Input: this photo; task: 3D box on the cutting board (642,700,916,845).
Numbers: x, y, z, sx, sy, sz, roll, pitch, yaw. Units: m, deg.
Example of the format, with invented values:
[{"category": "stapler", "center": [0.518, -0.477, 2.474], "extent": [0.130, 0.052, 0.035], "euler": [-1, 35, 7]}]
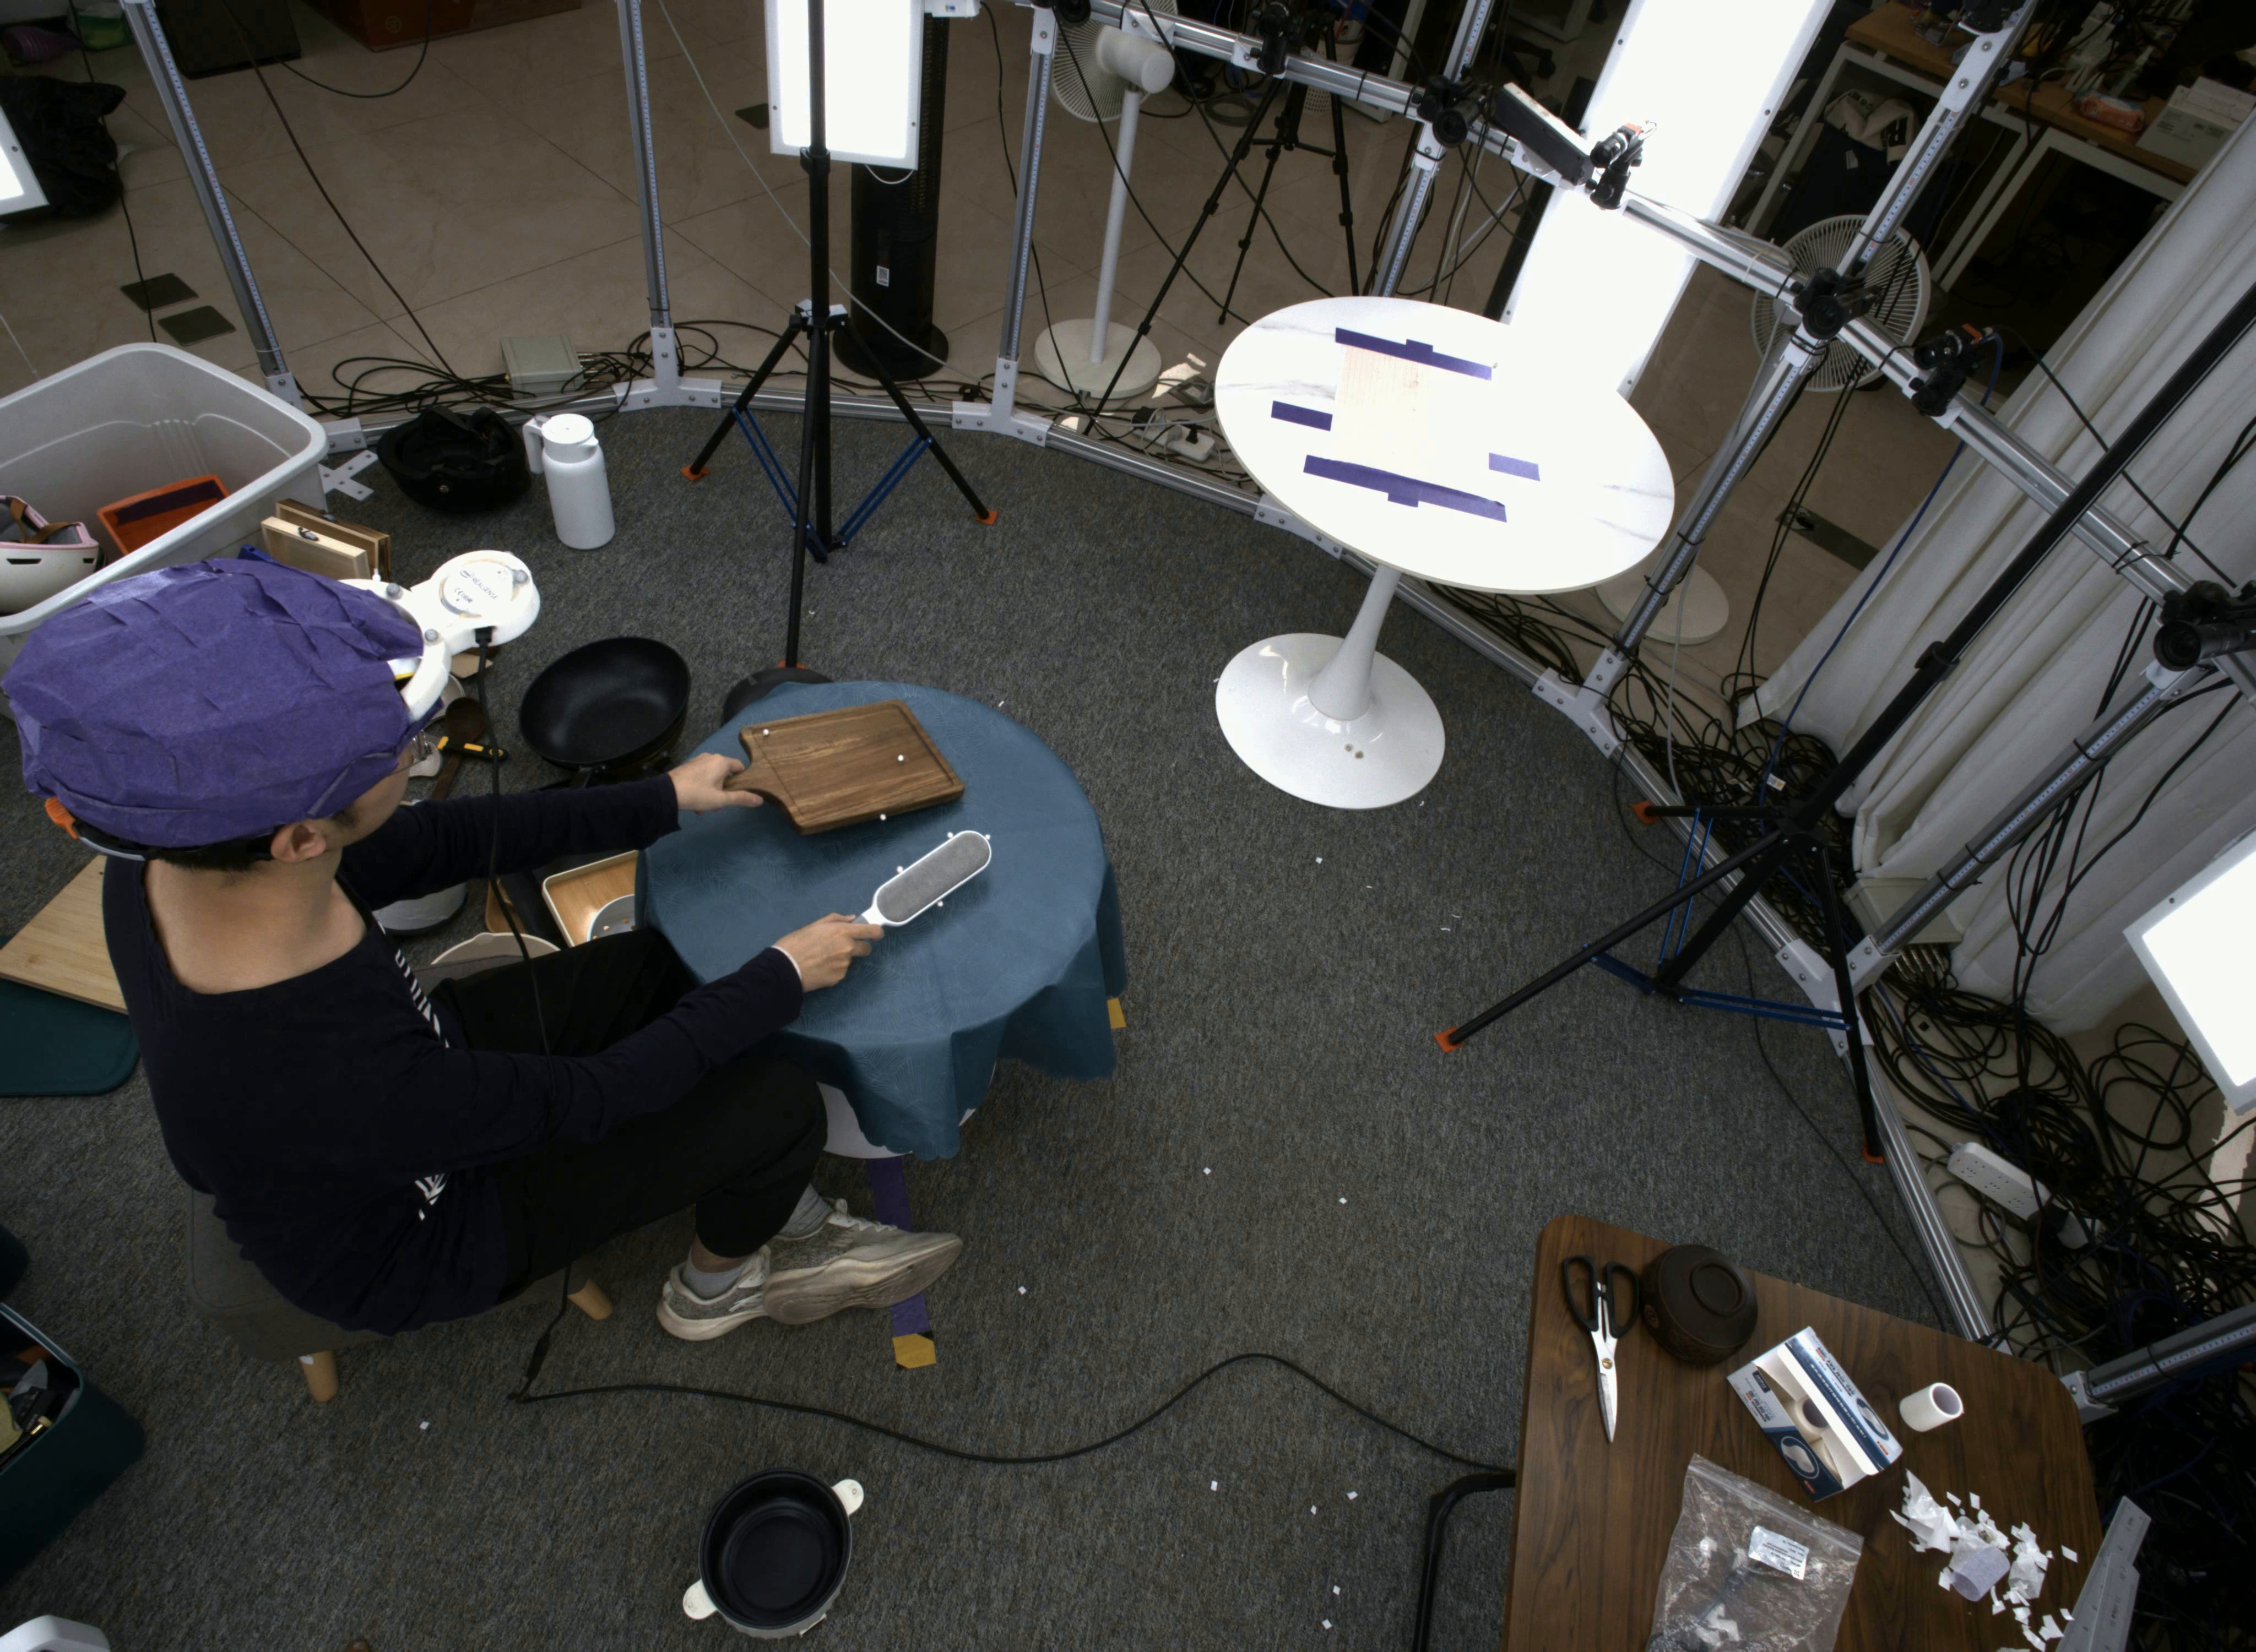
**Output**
[{"category": "cutting board", "center": [-0.475, -0.066, 1.712], "extent": [0.355, 0.023, 0.196], "euler": [-19, 58, -39]}]

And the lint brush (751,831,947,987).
[{"category": "lint brush", "center": [-0.345, 0.100, 1.622], "extent": [0.309, 0.020, 0.061], "euler": [-39, 100, -32]}]
